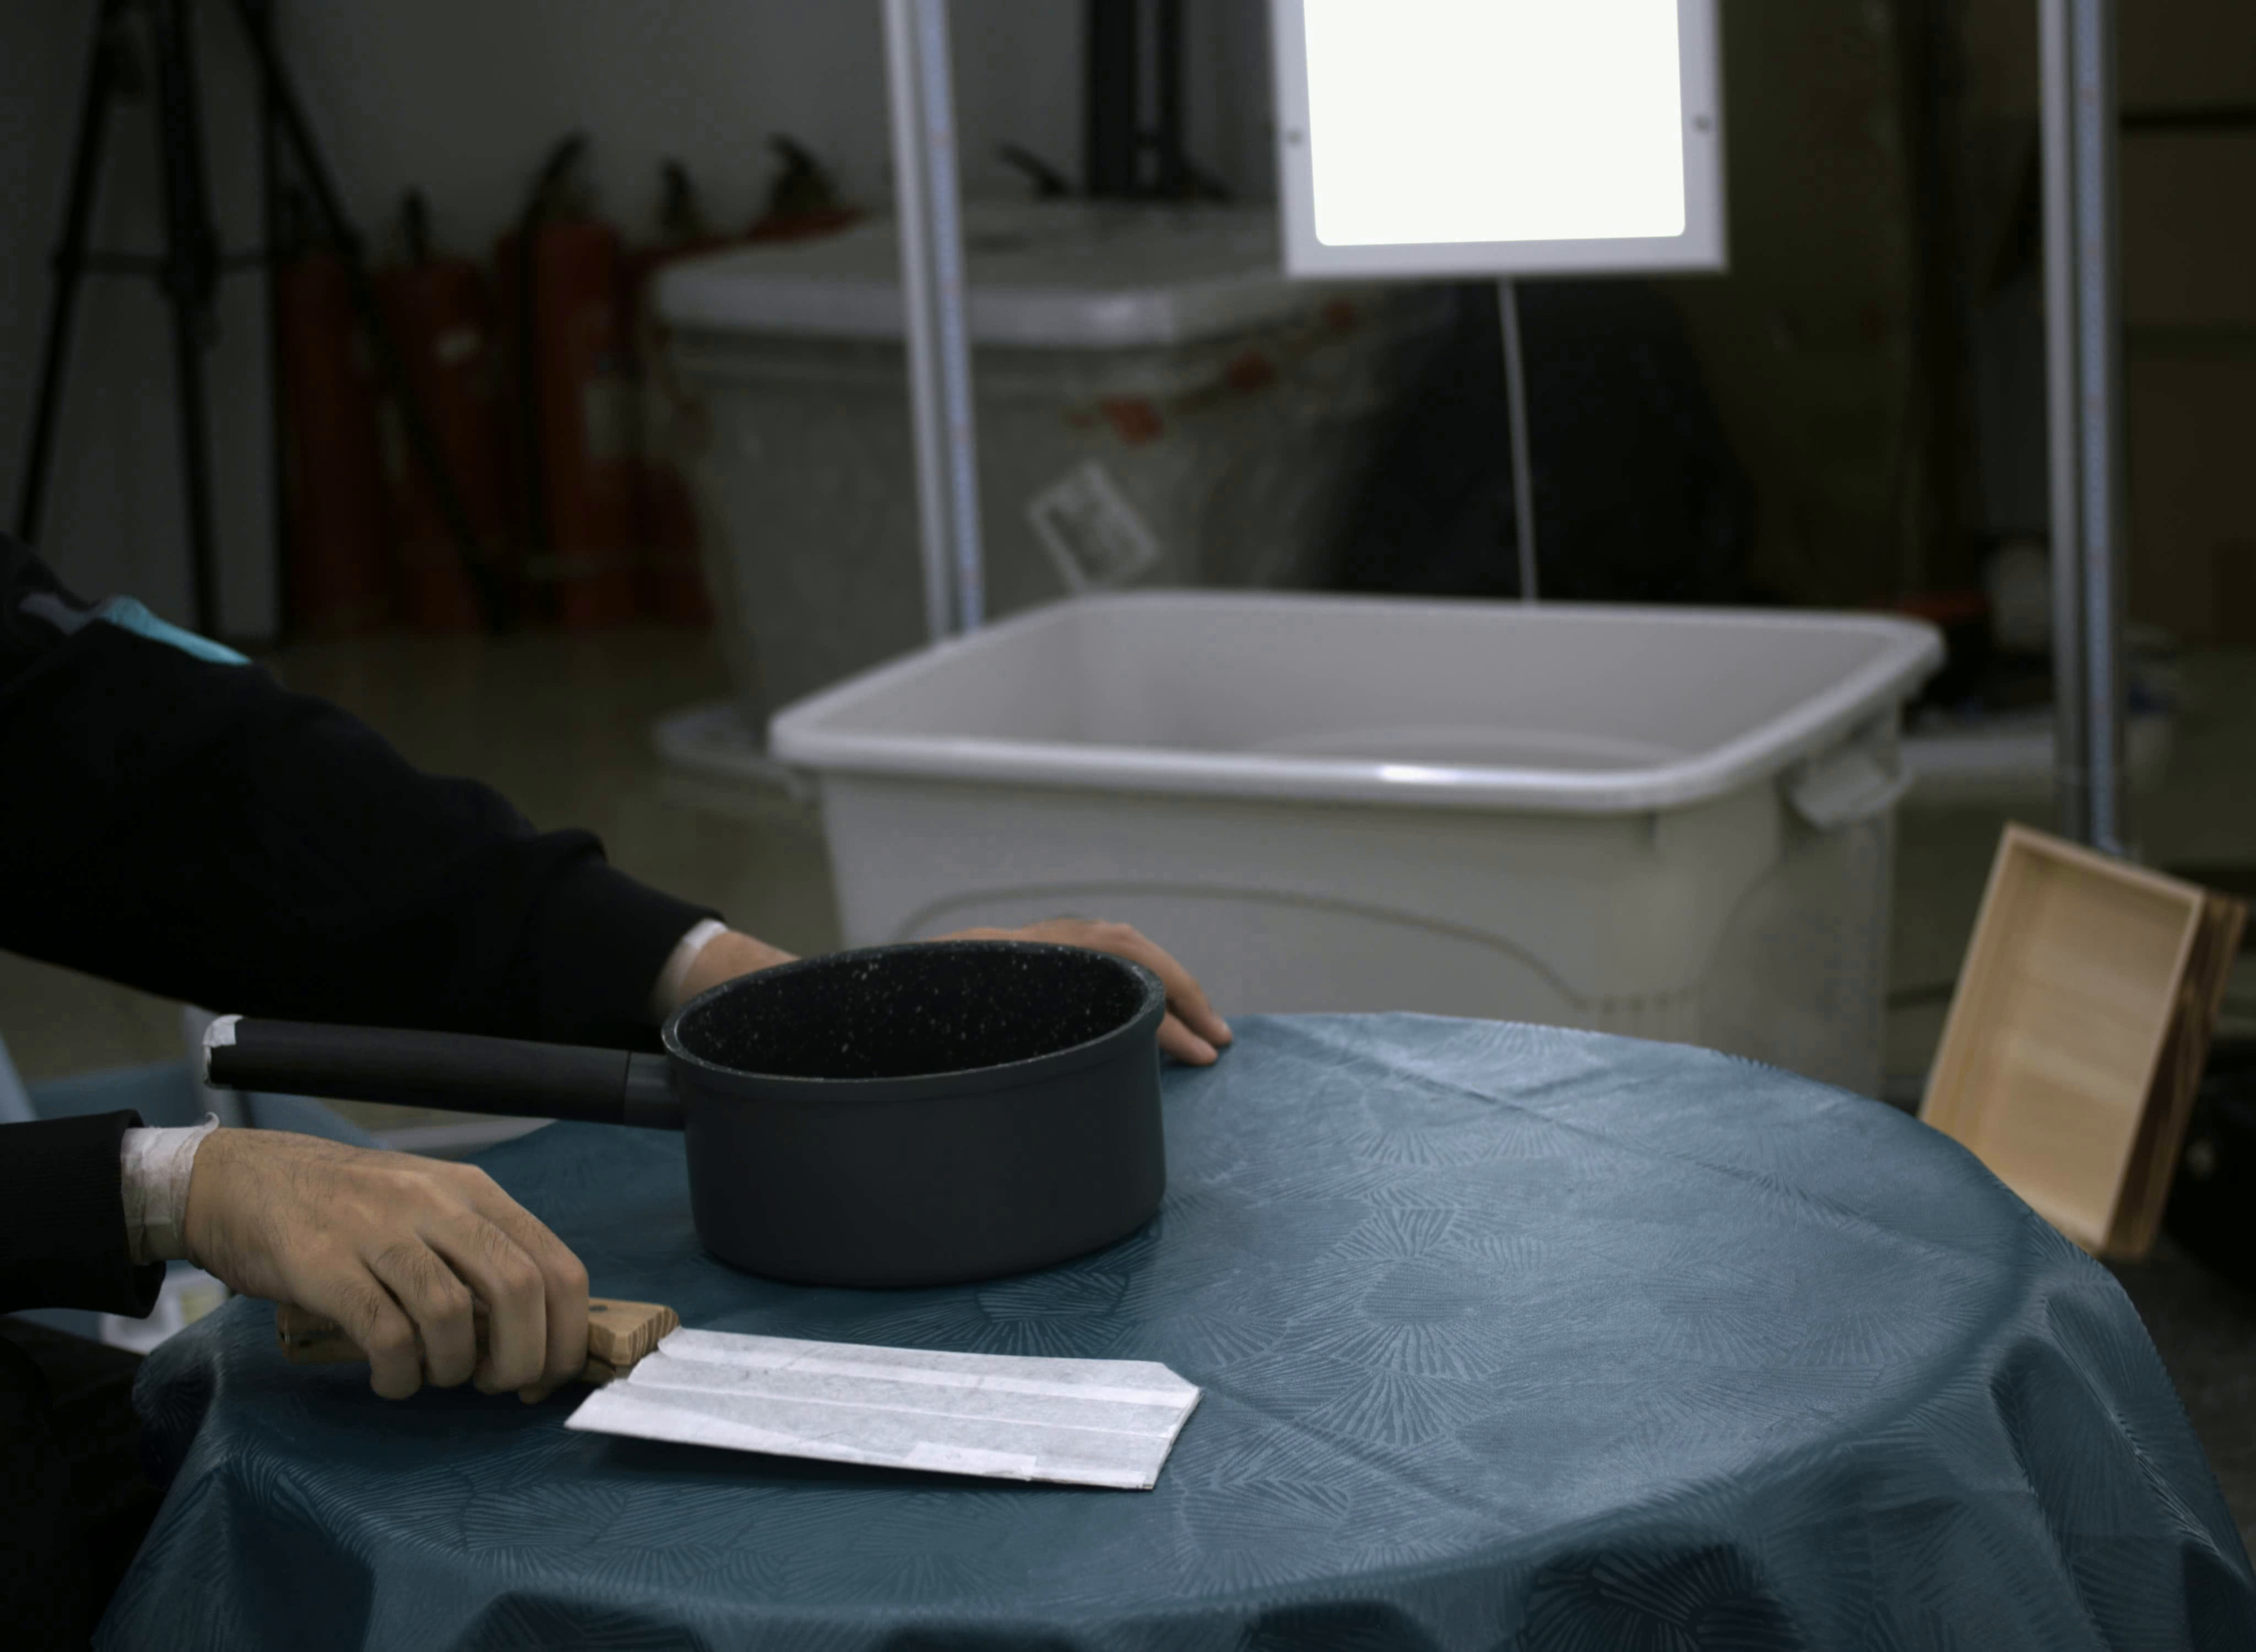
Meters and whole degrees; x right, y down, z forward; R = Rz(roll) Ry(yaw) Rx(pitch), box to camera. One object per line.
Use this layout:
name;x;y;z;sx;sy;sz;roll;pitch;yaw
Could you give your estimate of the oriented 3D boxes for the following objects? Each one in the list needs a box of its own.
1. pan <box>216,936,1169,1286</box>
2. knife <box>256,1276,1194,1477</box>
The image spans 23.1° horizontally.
pan;-0.148;0.099;1.887;0.329;0.087;0.171;-3;12;7
knife;-0.127;0.170;1.711;0.319;0.022;0.112;5;16;21
